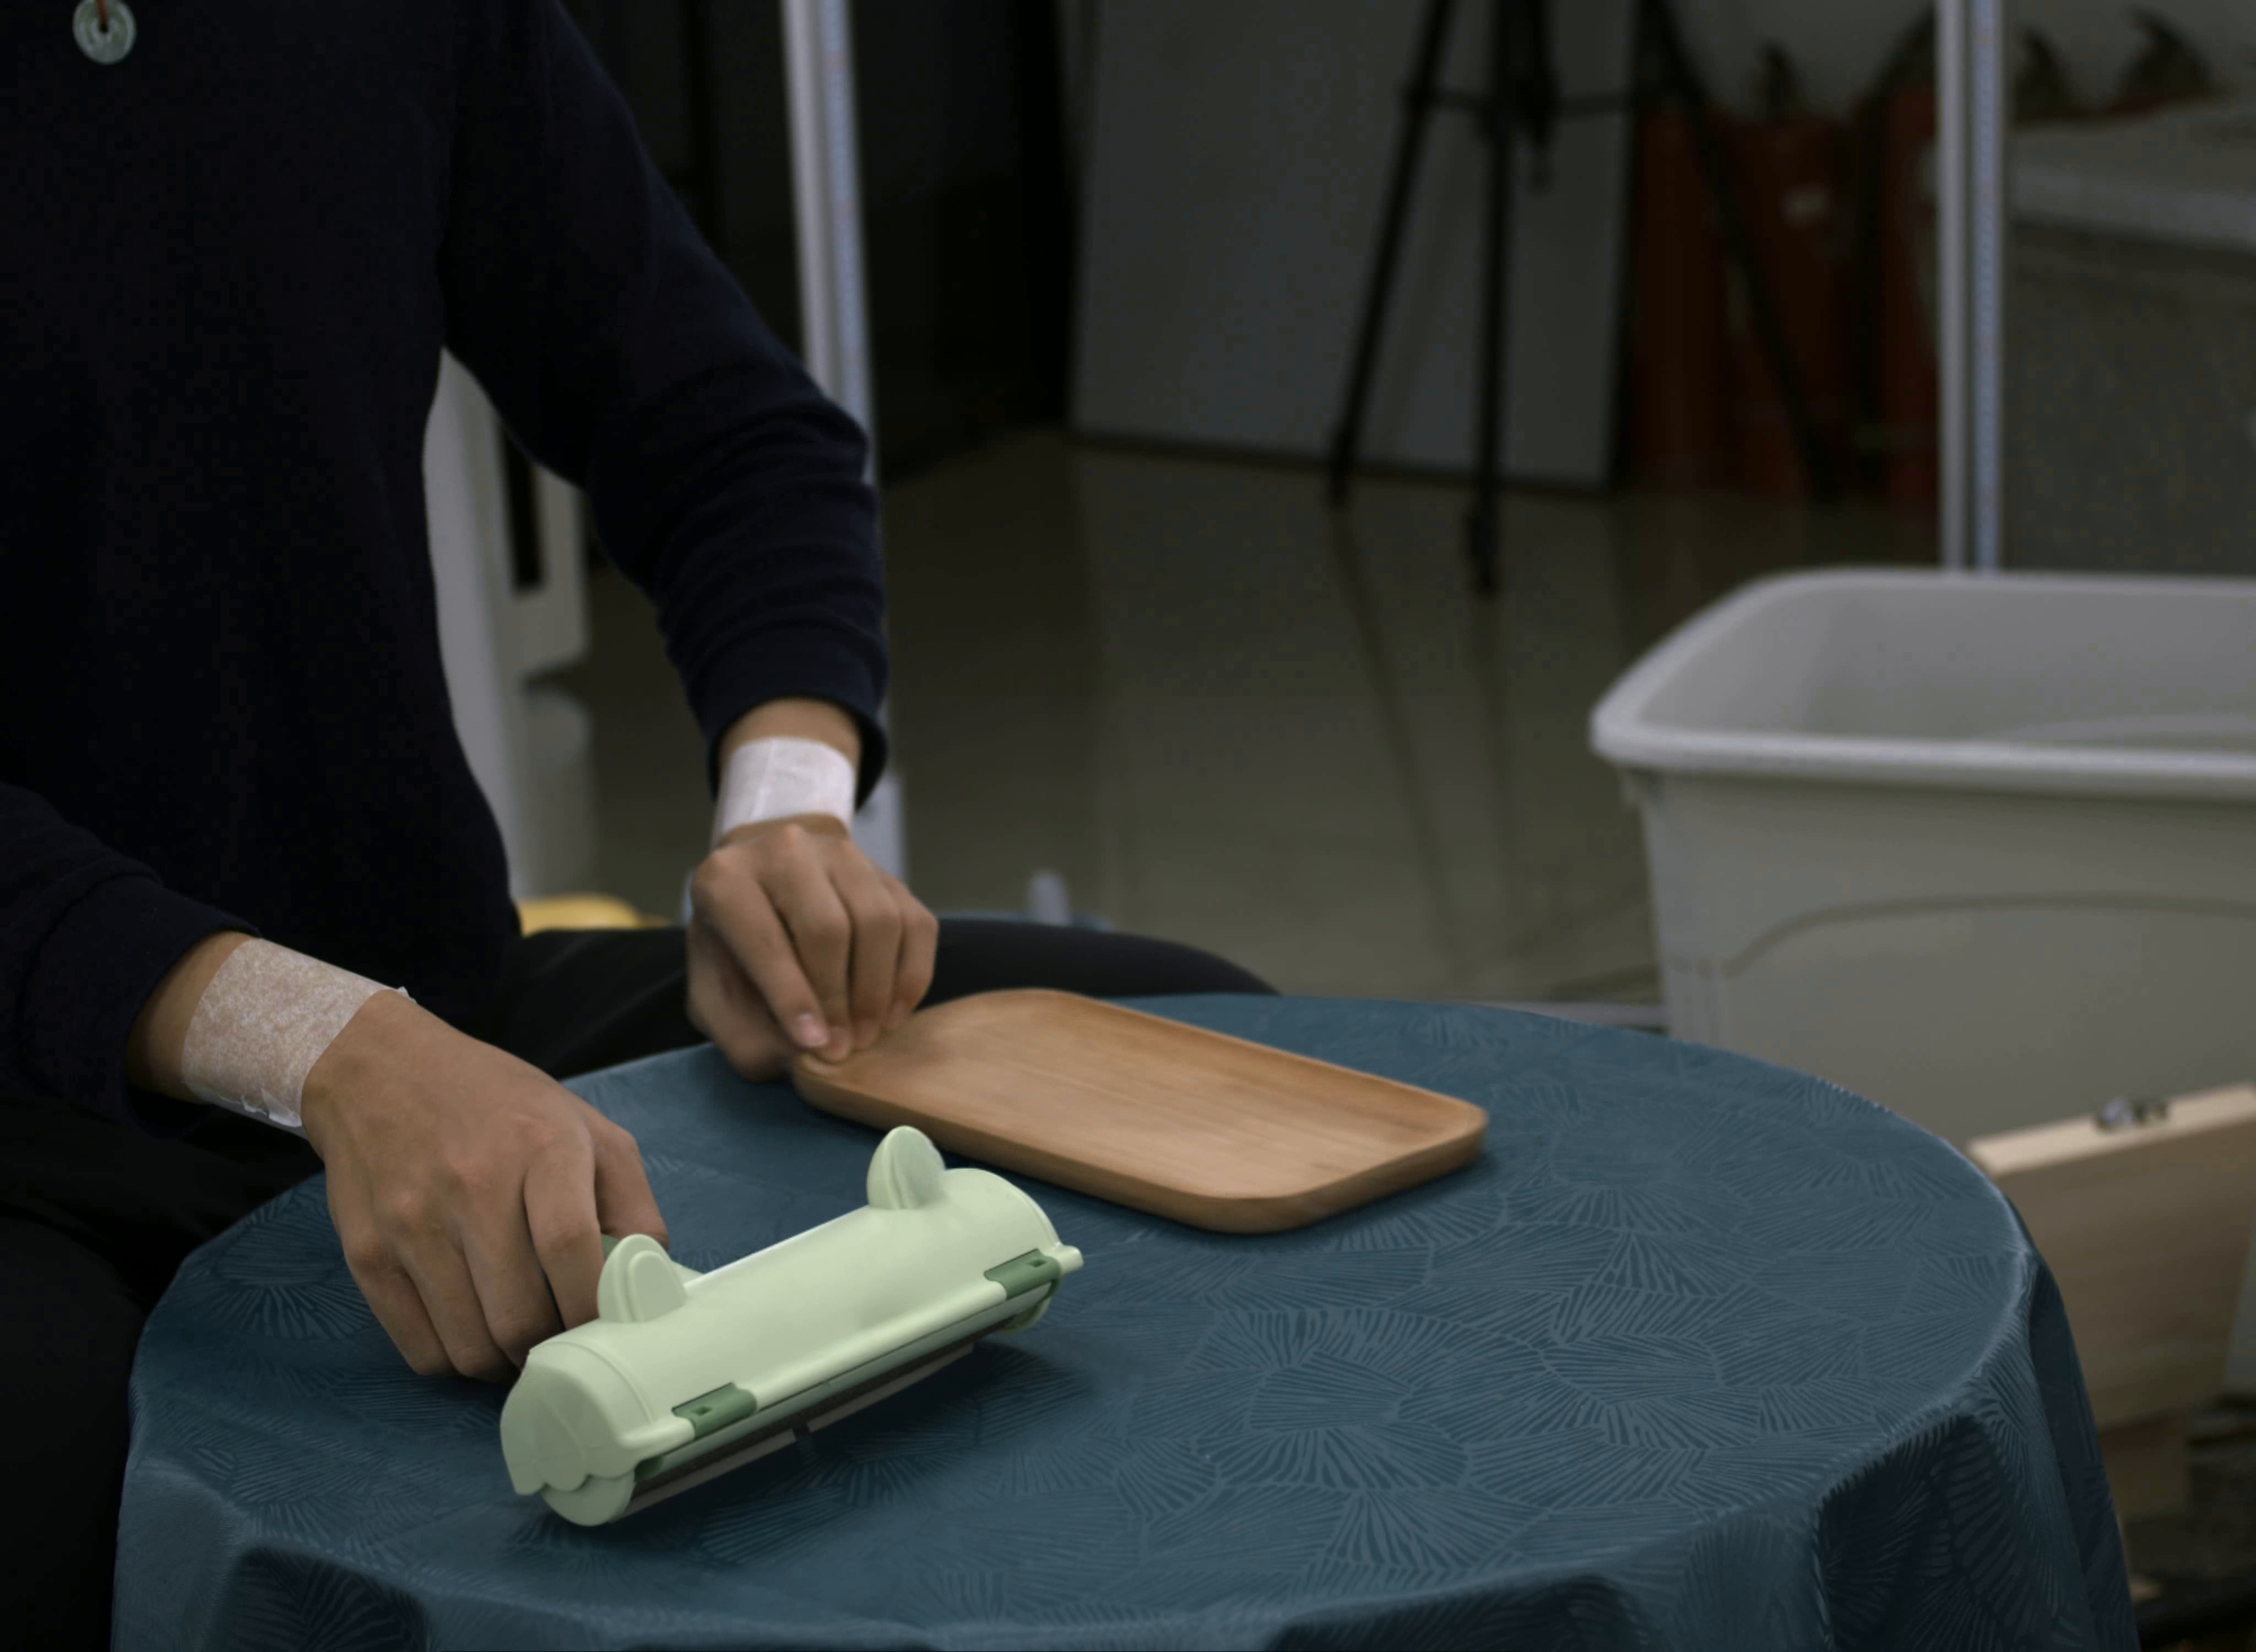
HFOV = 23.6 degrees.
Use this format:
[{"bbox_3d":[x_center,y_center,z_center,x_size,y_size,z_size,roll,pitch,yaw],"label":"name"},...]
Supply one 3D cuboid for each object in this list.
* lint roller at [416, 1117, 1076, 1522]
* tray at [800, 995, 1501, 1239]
[{"bbox_3d":[-0.140,0.124,1.591,0.185,0.083,0.195,21,25,34],"label":"lint roller"},{"bbox_3d":[0.005,0.097,1.827,0.128,0.023,0.253,-13,16,-40],"label":"tray"}]
